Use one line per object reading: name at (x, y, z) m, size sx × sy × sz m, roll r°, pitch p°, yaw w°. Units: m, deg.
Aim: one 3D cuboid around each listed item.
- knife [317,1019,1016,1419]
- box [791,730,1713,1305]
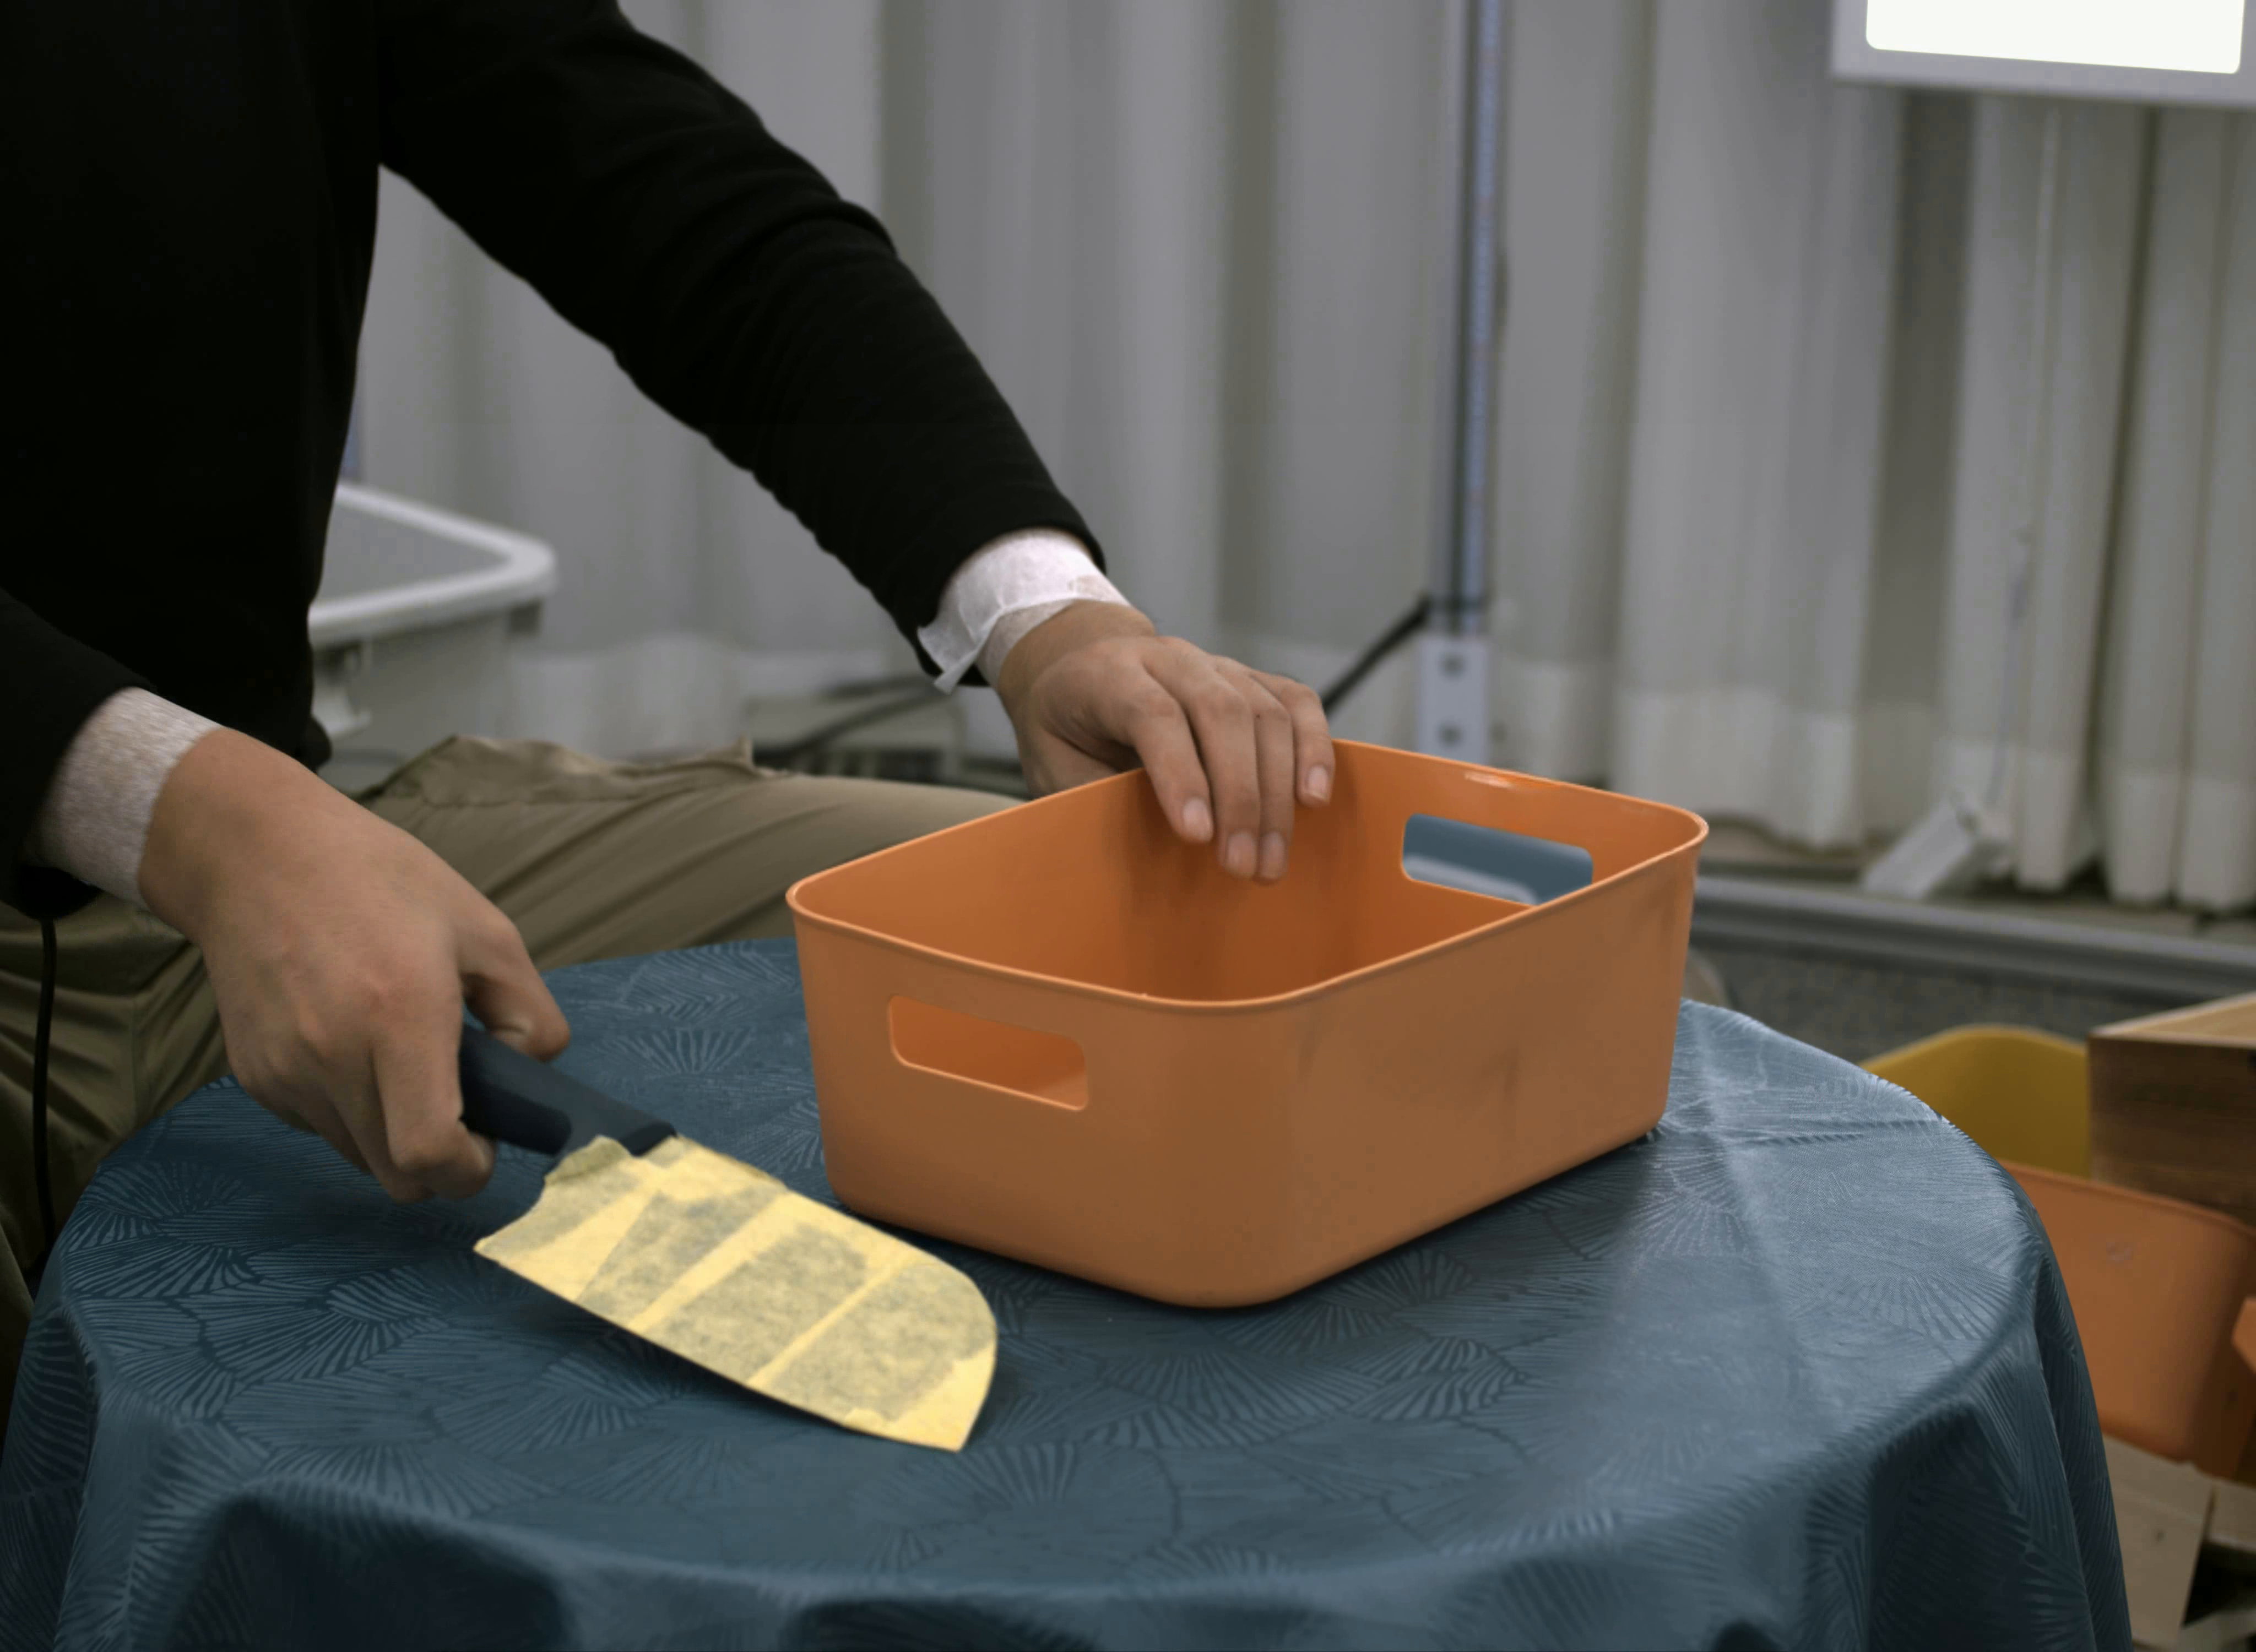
knife at (-0.142, 0.113, 1.511) m, size 0.285 × 0.027 × 0.081 m, roll 22°, pitch 36°, yaw 36°
box at (0.039, 0.055, 1.632) m, size 0.197 × 0.103 × 0.274 m, roll 13°, pitch 20°, yaw 37°
